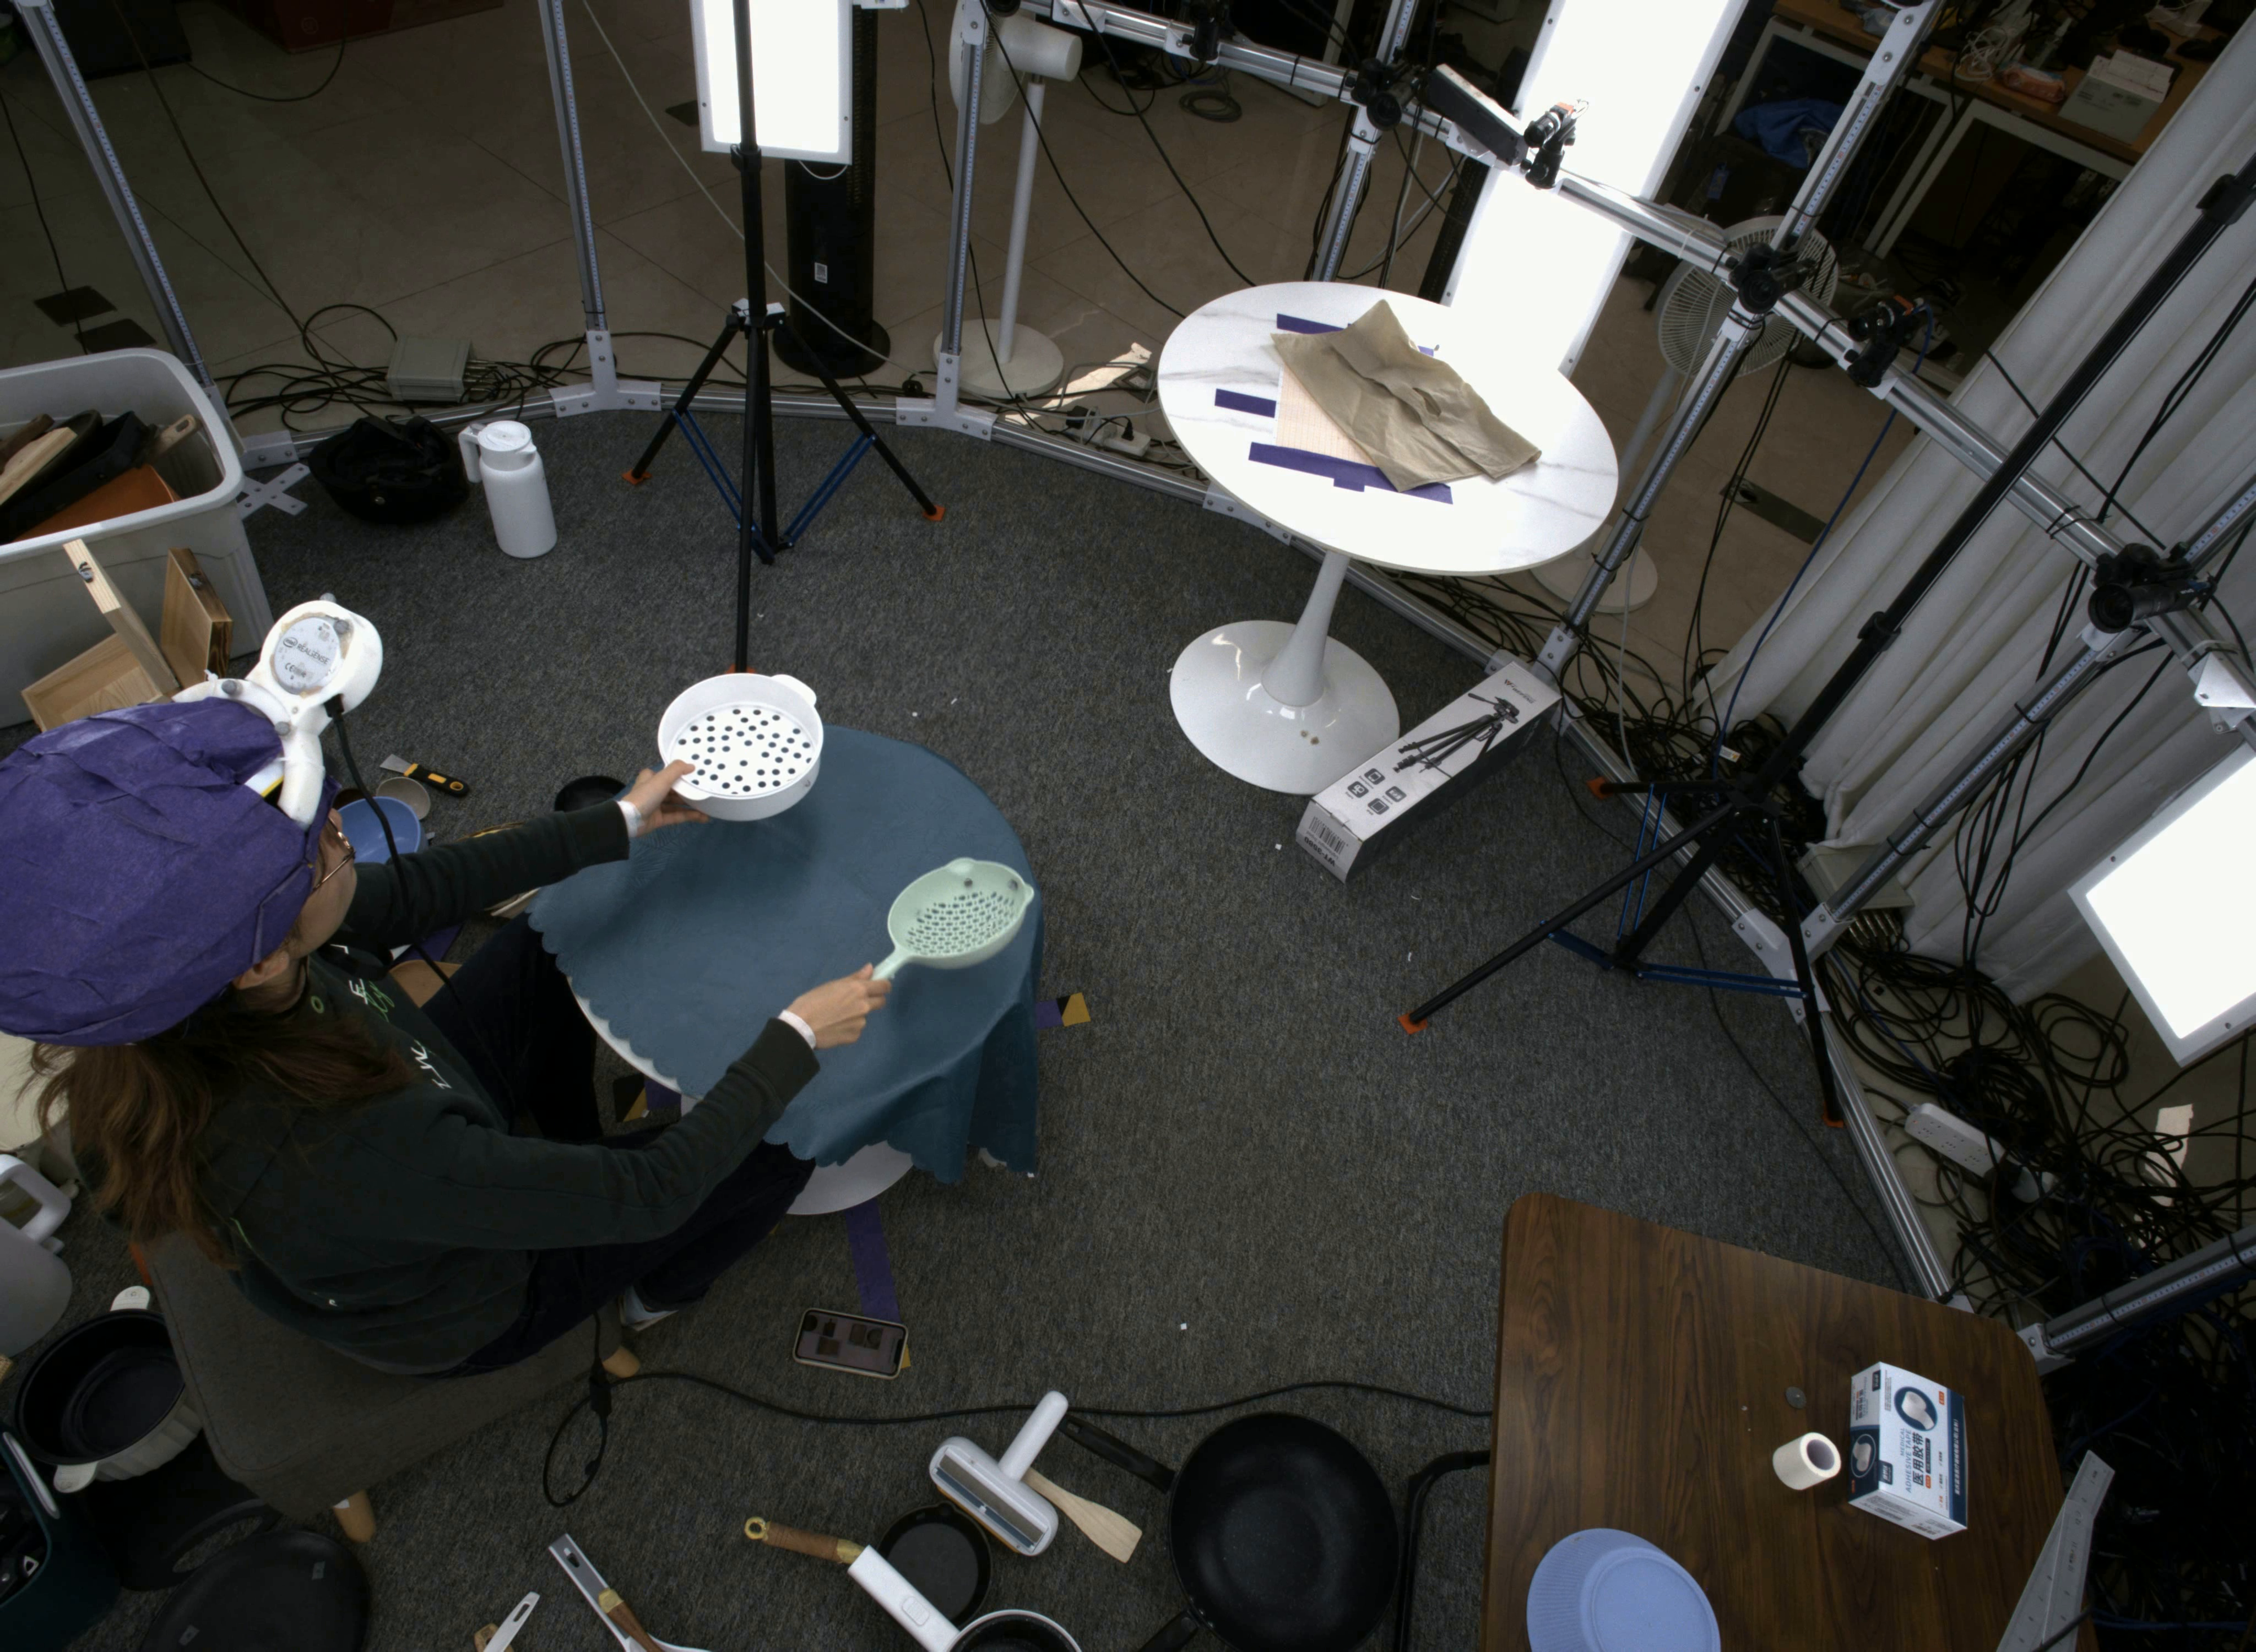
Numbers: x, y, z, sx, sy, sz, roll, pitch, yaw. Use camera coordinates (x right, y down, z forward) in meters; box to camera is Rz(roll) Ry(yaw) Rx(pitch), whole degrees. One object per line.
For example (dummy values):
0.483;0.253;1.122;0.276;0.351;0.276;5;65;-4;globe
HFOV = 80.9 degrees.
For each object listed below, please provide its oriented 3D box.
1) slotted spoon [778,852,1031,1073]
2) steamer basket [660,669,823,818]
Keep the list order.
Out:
-0.264;0.152;1.498;0.163;0.078;0.360;20;41;37;slotted spoon
-0.488;-0.103;1.639;0.199;0.070;0.230;31;54;9;steamer basket
